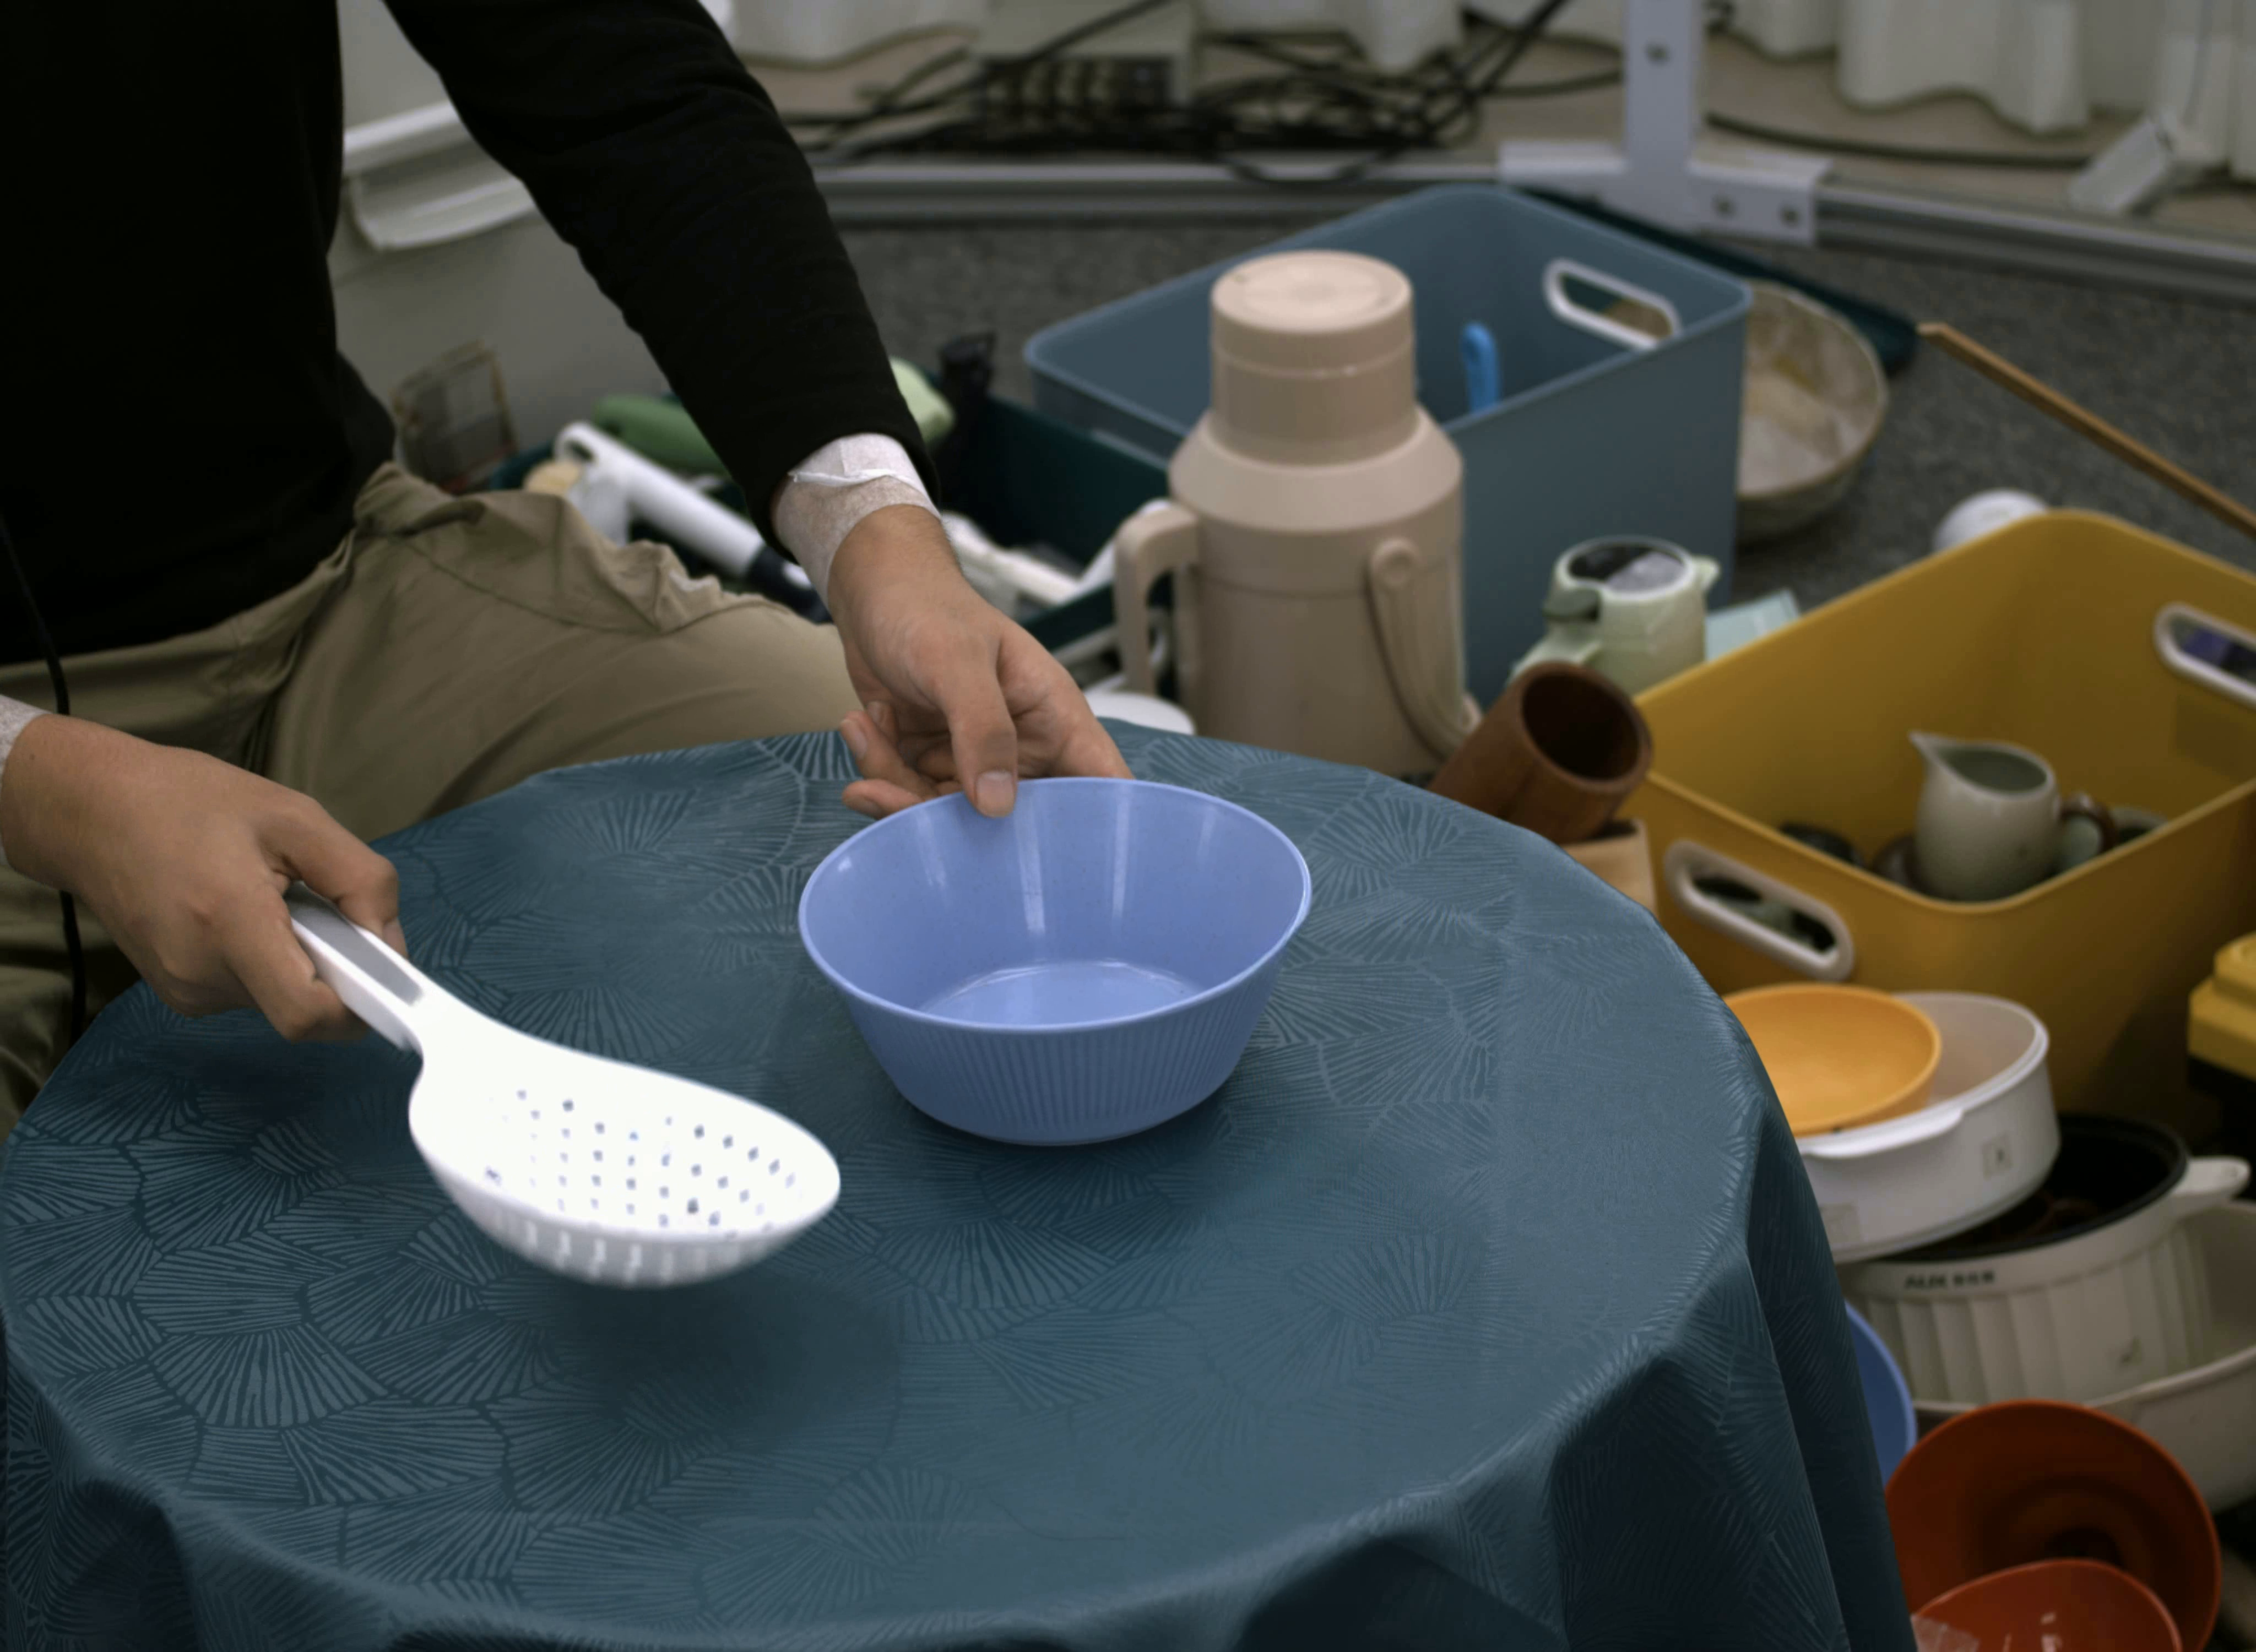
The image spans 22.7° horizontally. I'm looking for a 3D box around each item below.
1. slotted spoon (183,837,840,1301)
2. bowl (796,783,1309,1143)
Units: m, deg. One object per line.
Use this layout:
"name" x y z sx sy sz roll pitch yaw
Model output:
"slotted spoon" -0.221 0.074 1.839 0.137 0.045 0.351 -4 28 -37
"bowl" -0.024 0.052 1.923 0.175 0.069 0.179 -3 26 2
